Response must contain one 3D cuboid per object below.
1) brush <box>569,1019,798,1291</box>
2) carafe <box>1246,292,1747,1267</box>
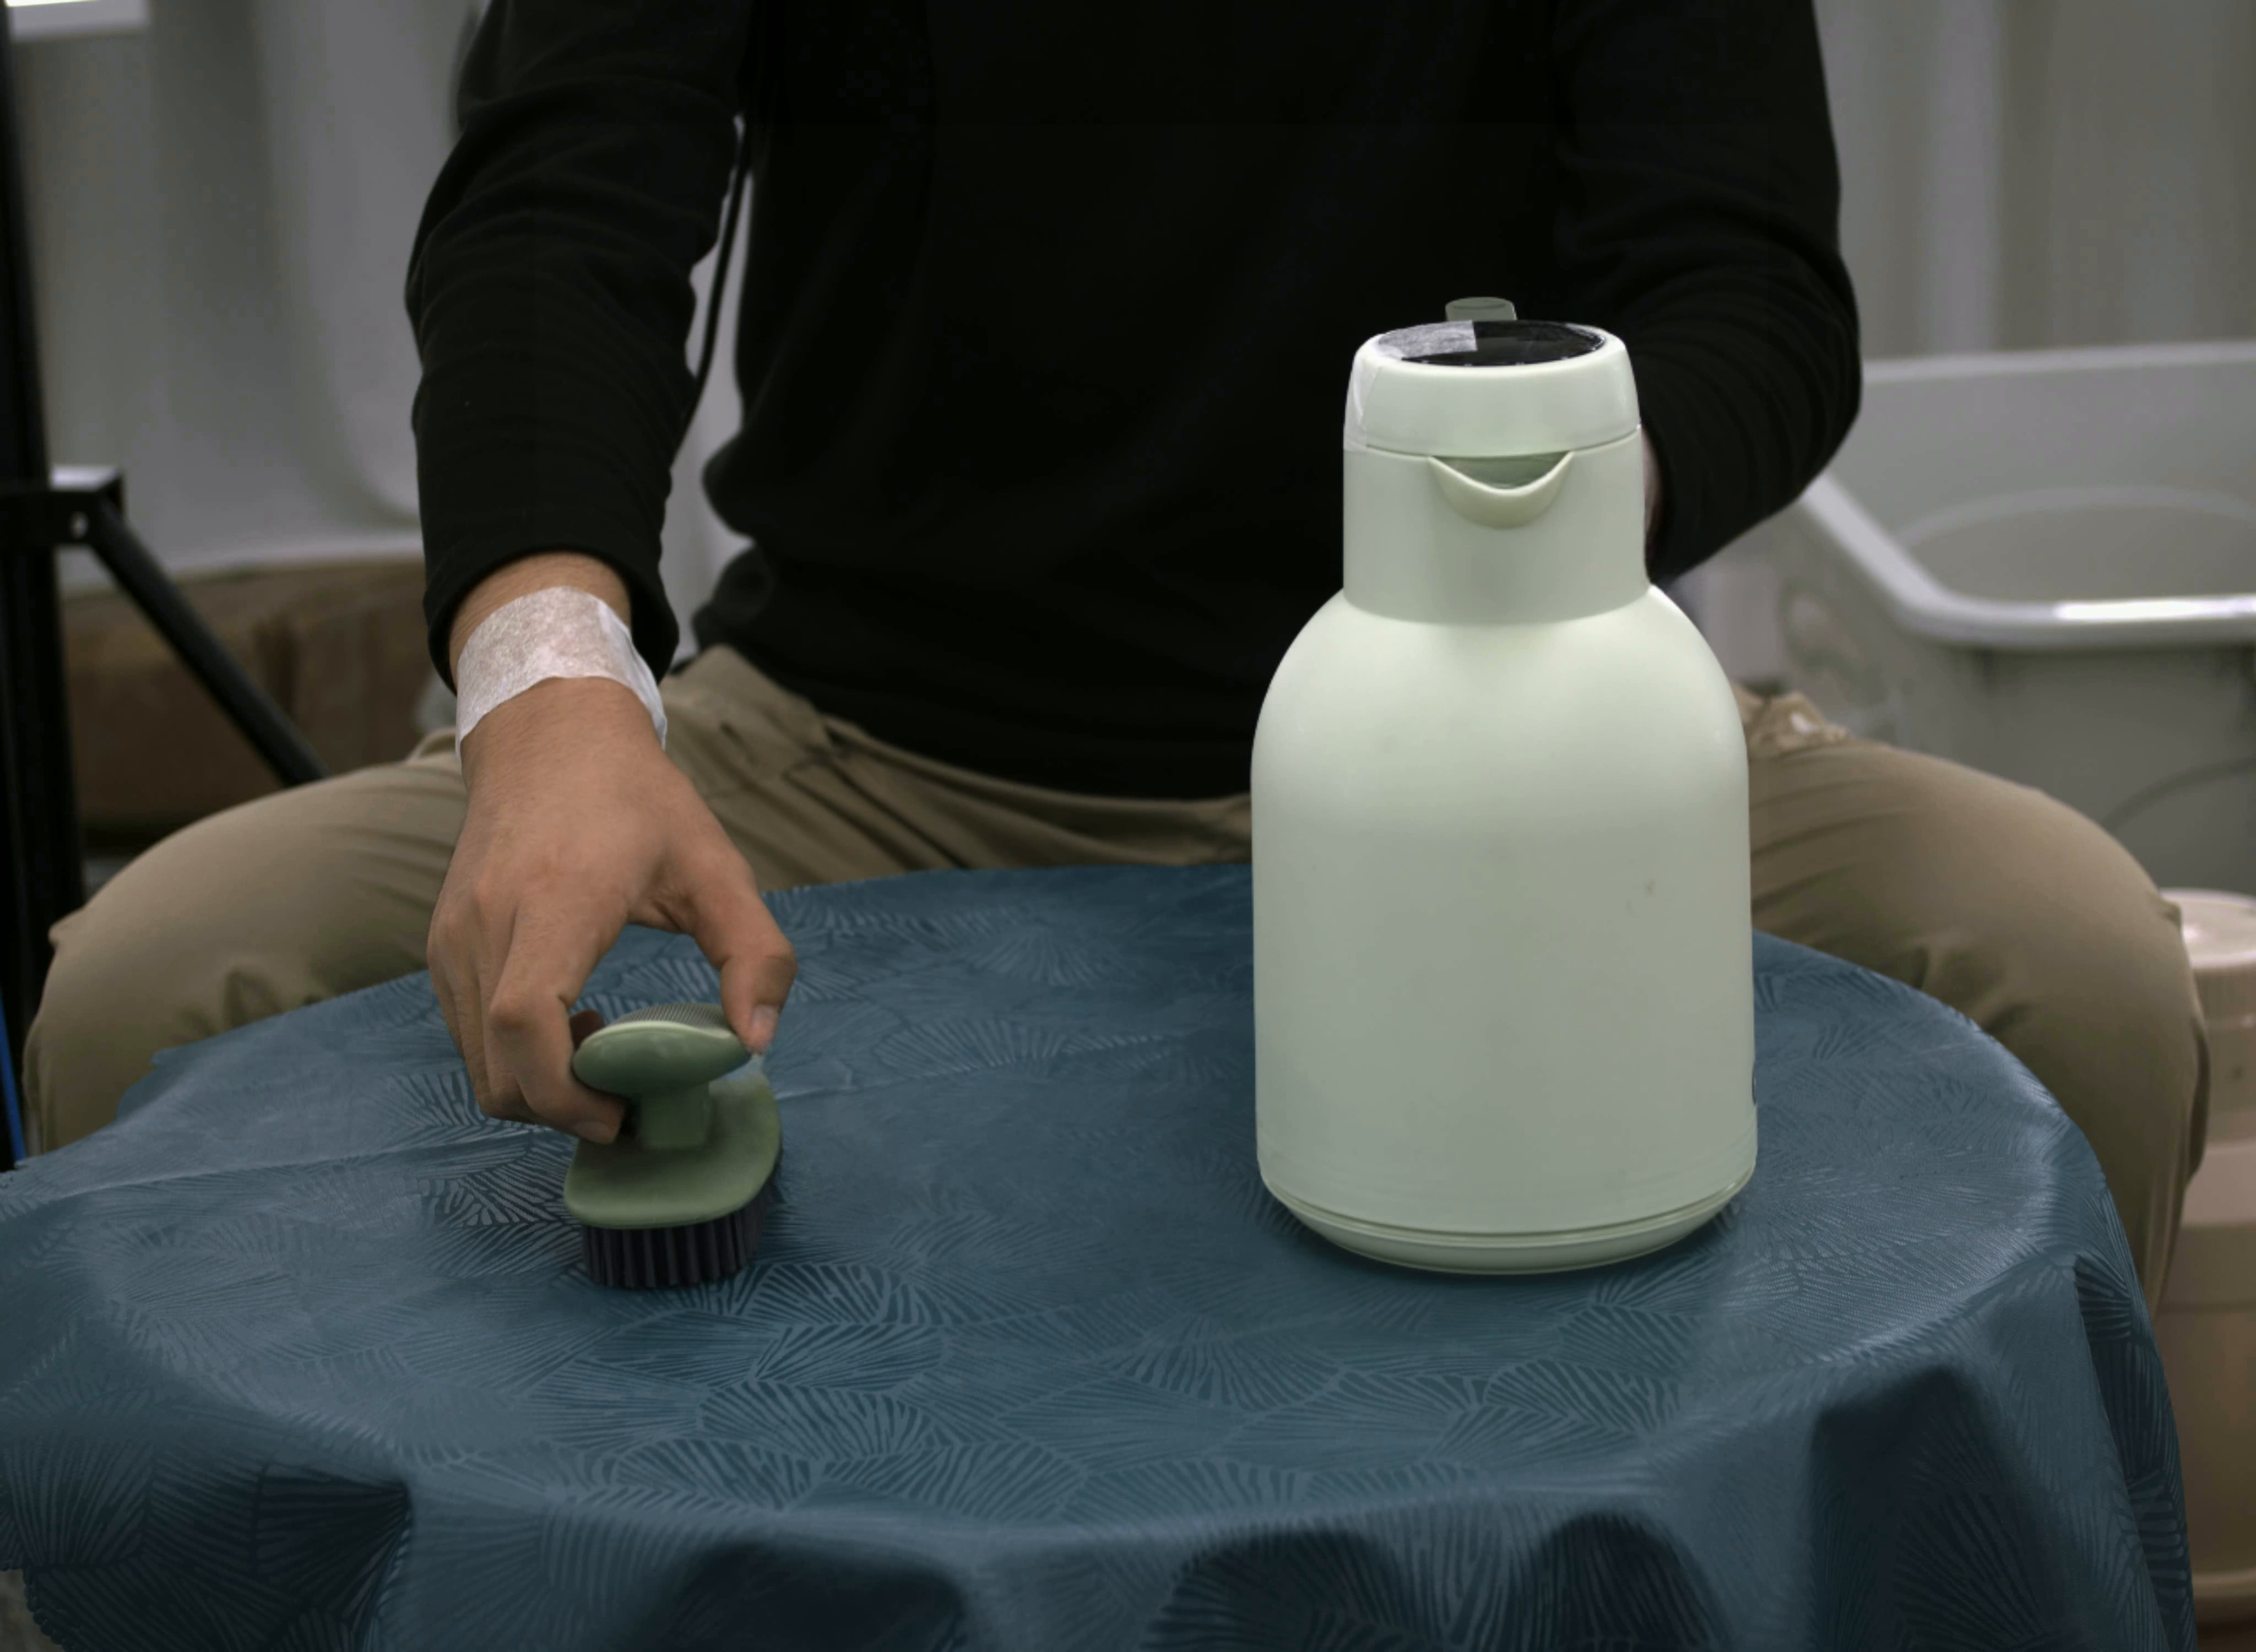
[{"bbox_3d":[-0.129,0.095,1.544,0.059,0.076,0.122,-4,-4,5],"label":"brush"},{"bbox_3d":[0.104,-0.018,1.513,0.144,0.257,0.187,-1,13,1],"label":"carafe"}]
